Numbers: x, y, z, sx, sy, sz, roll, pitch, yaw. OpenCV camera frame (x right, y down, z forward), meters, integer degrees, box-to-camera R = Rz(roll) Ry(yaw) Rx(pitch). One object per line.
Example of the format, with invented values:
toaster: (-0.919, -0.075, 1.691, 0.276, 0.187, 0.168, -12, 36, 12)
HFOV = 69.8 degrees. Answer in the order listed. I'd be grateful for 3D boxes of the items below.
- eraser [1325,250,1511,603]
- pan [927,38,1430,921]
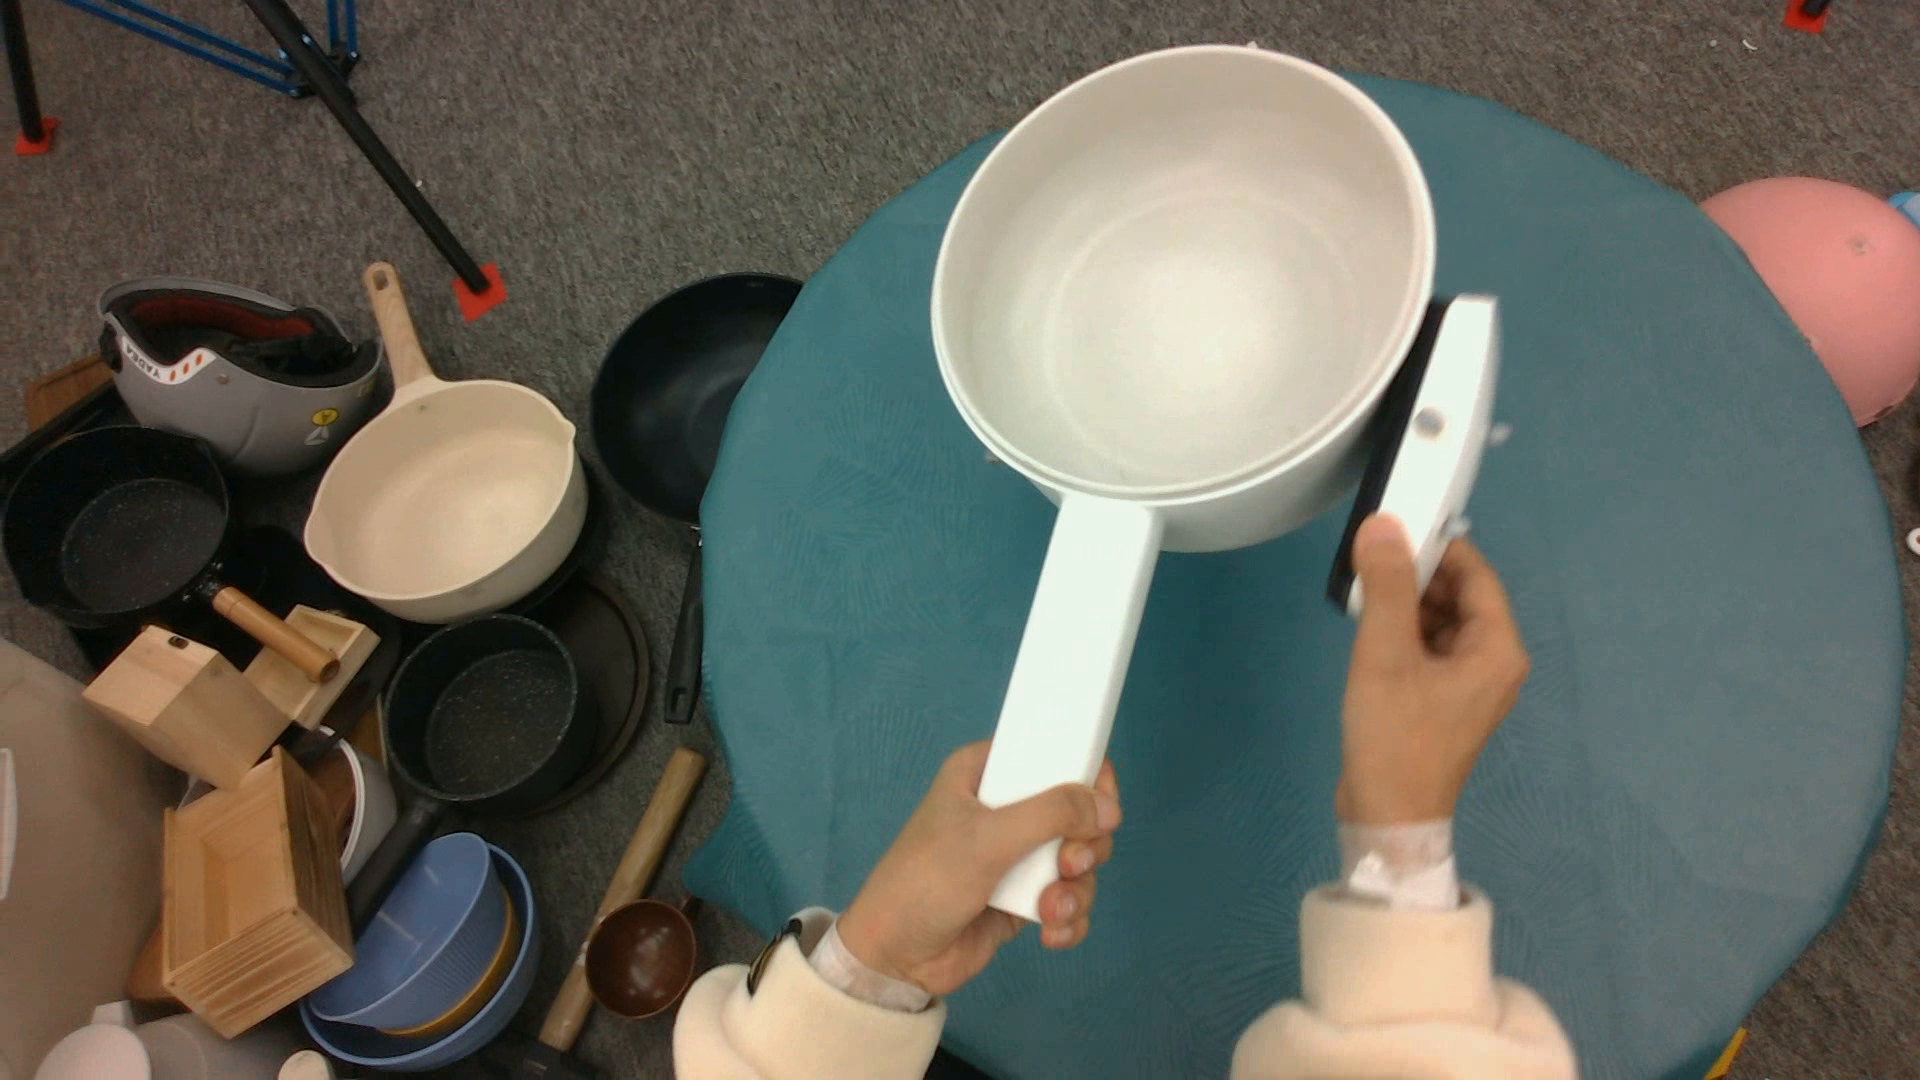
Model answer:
eraser: (0.176, -0.042, 0.517, 0.034, 0.063, 0.131, 19, 87, 27)
pan: (0.074, -0.024, 0.564, 0.201, 0.102, 0.355, 11, 79, 25)
